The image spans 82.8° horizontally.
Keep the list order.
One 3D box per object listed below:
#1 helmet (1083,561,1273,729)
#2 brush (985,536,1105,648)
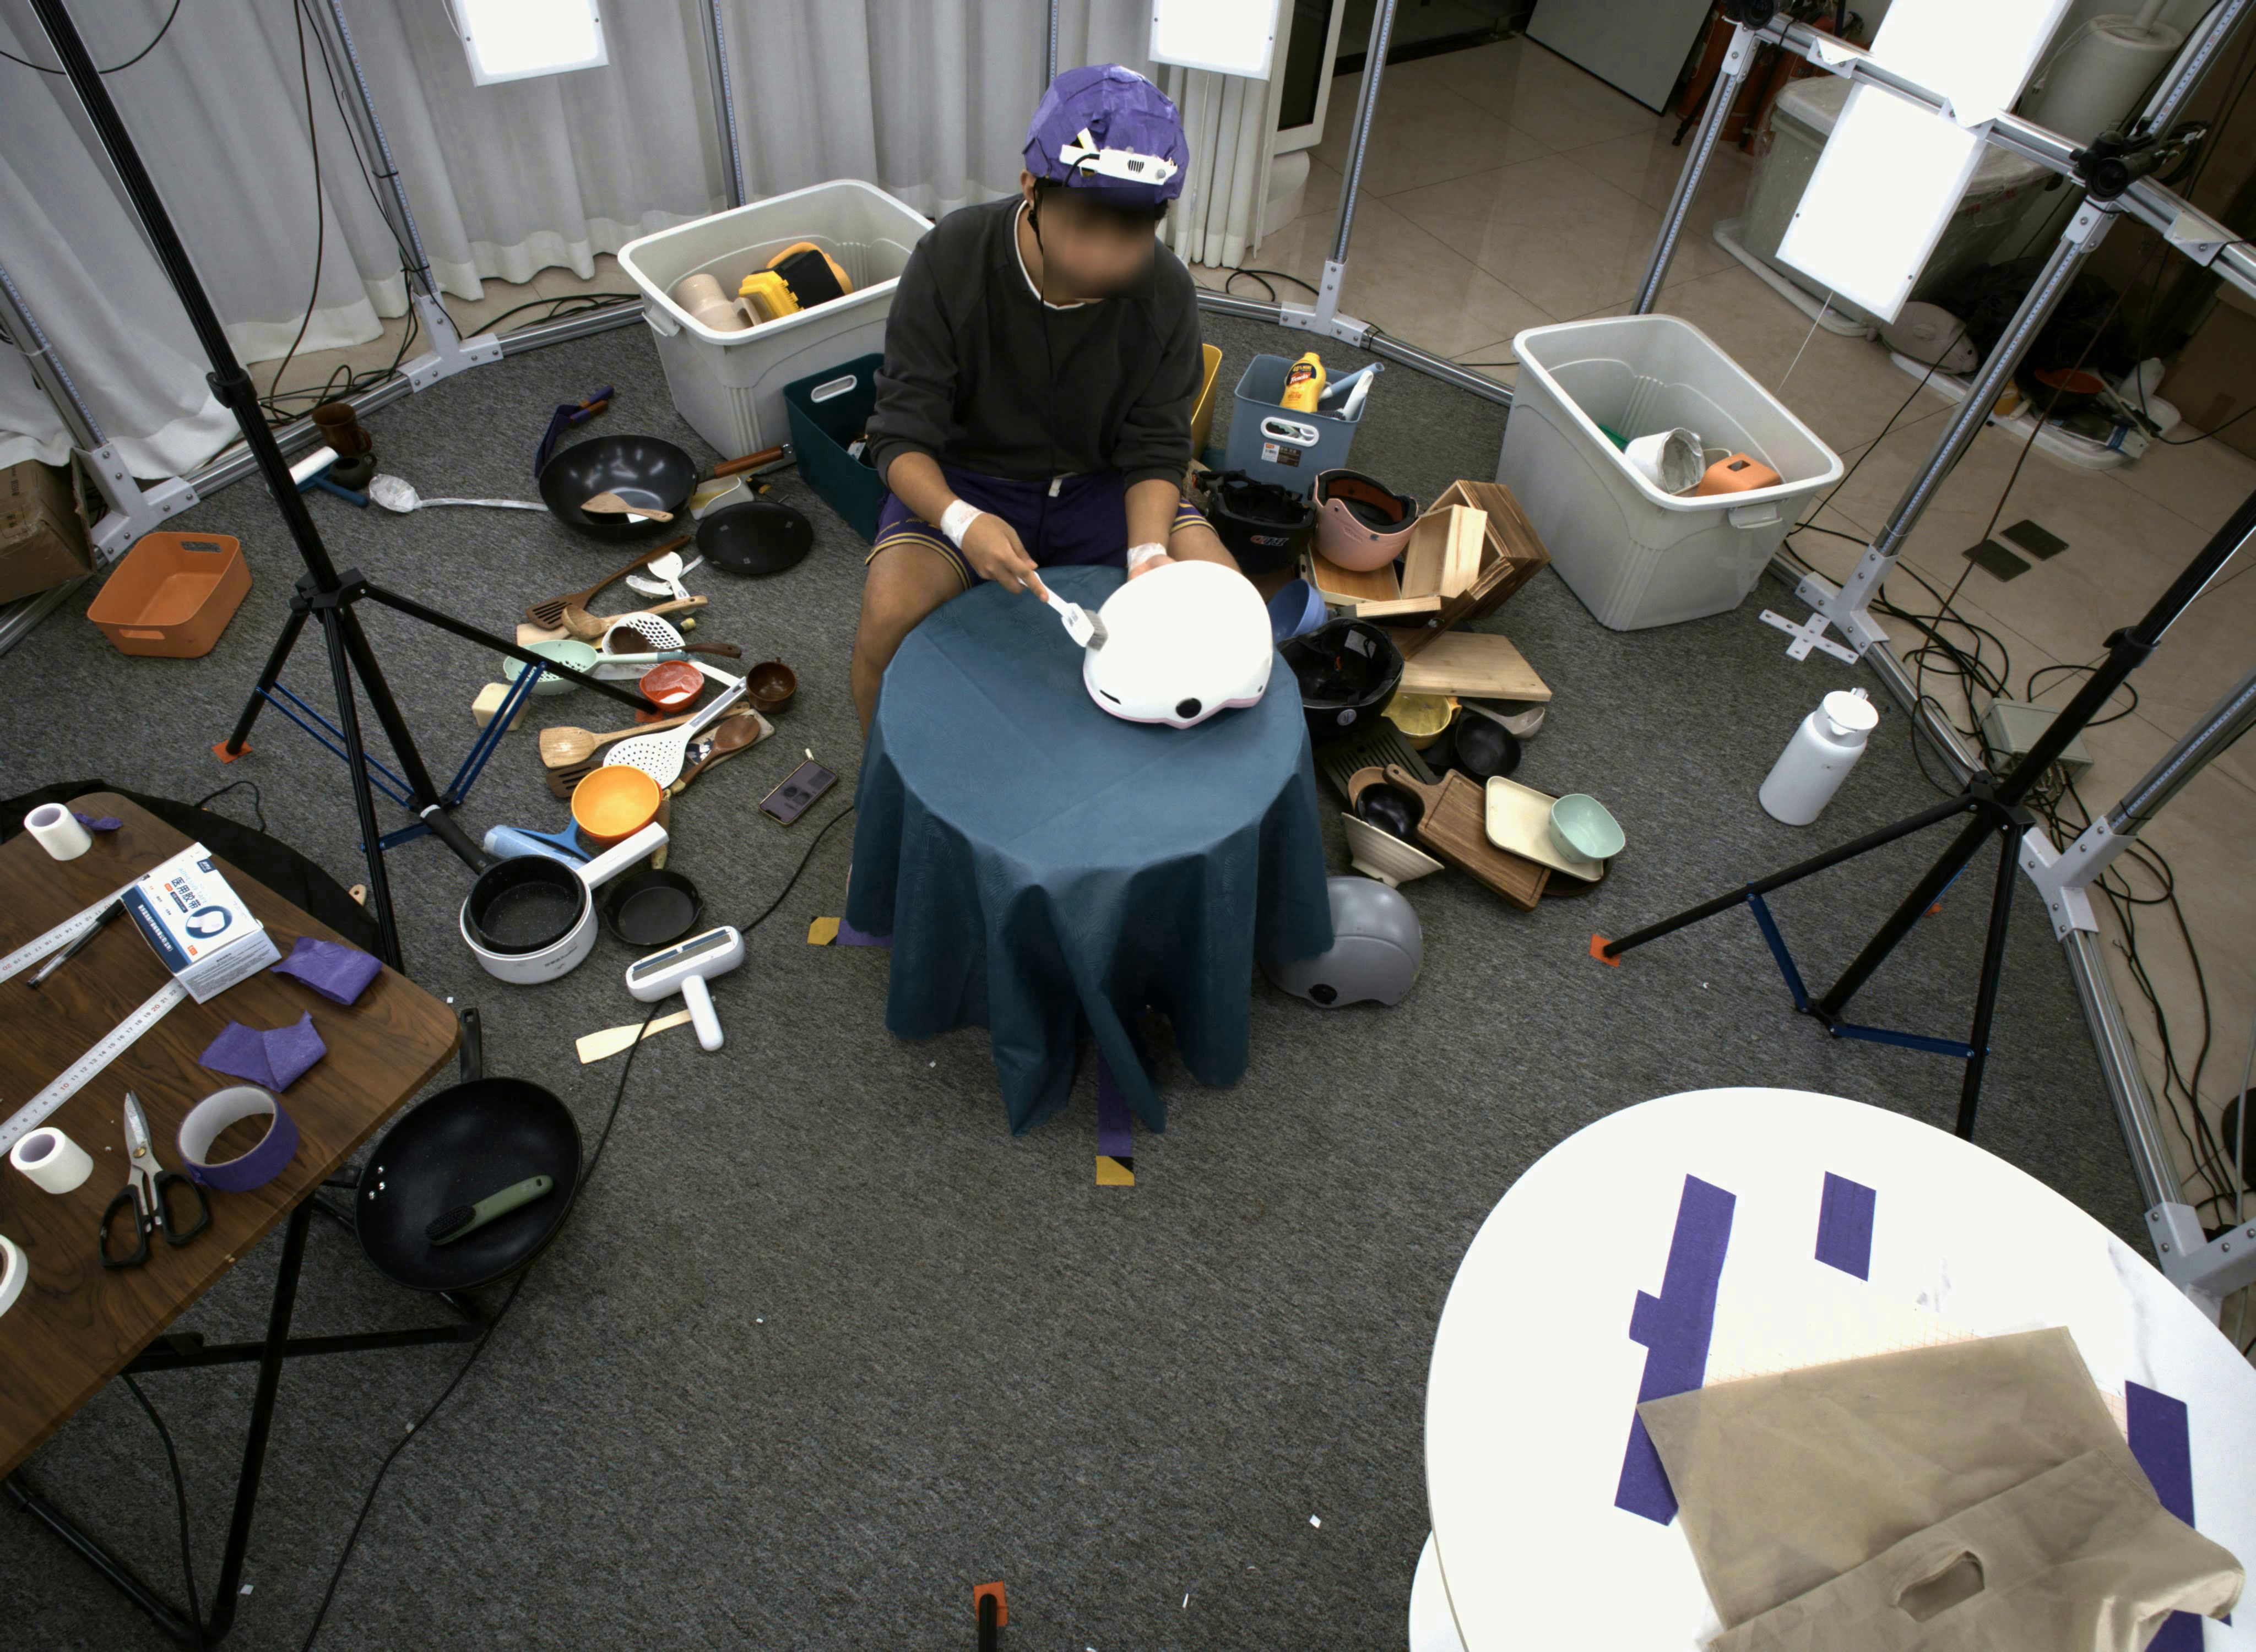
[{"bbox_3d":[0.075,-0.269,1.794,0.268,0.163,0.243,-10,54,-13],"label":"helmet"},{"bbox_3d":[-0.115,-0.331,1.803,0.050,0.034,0.248,-6,45,-48],"label":"brush"}]
